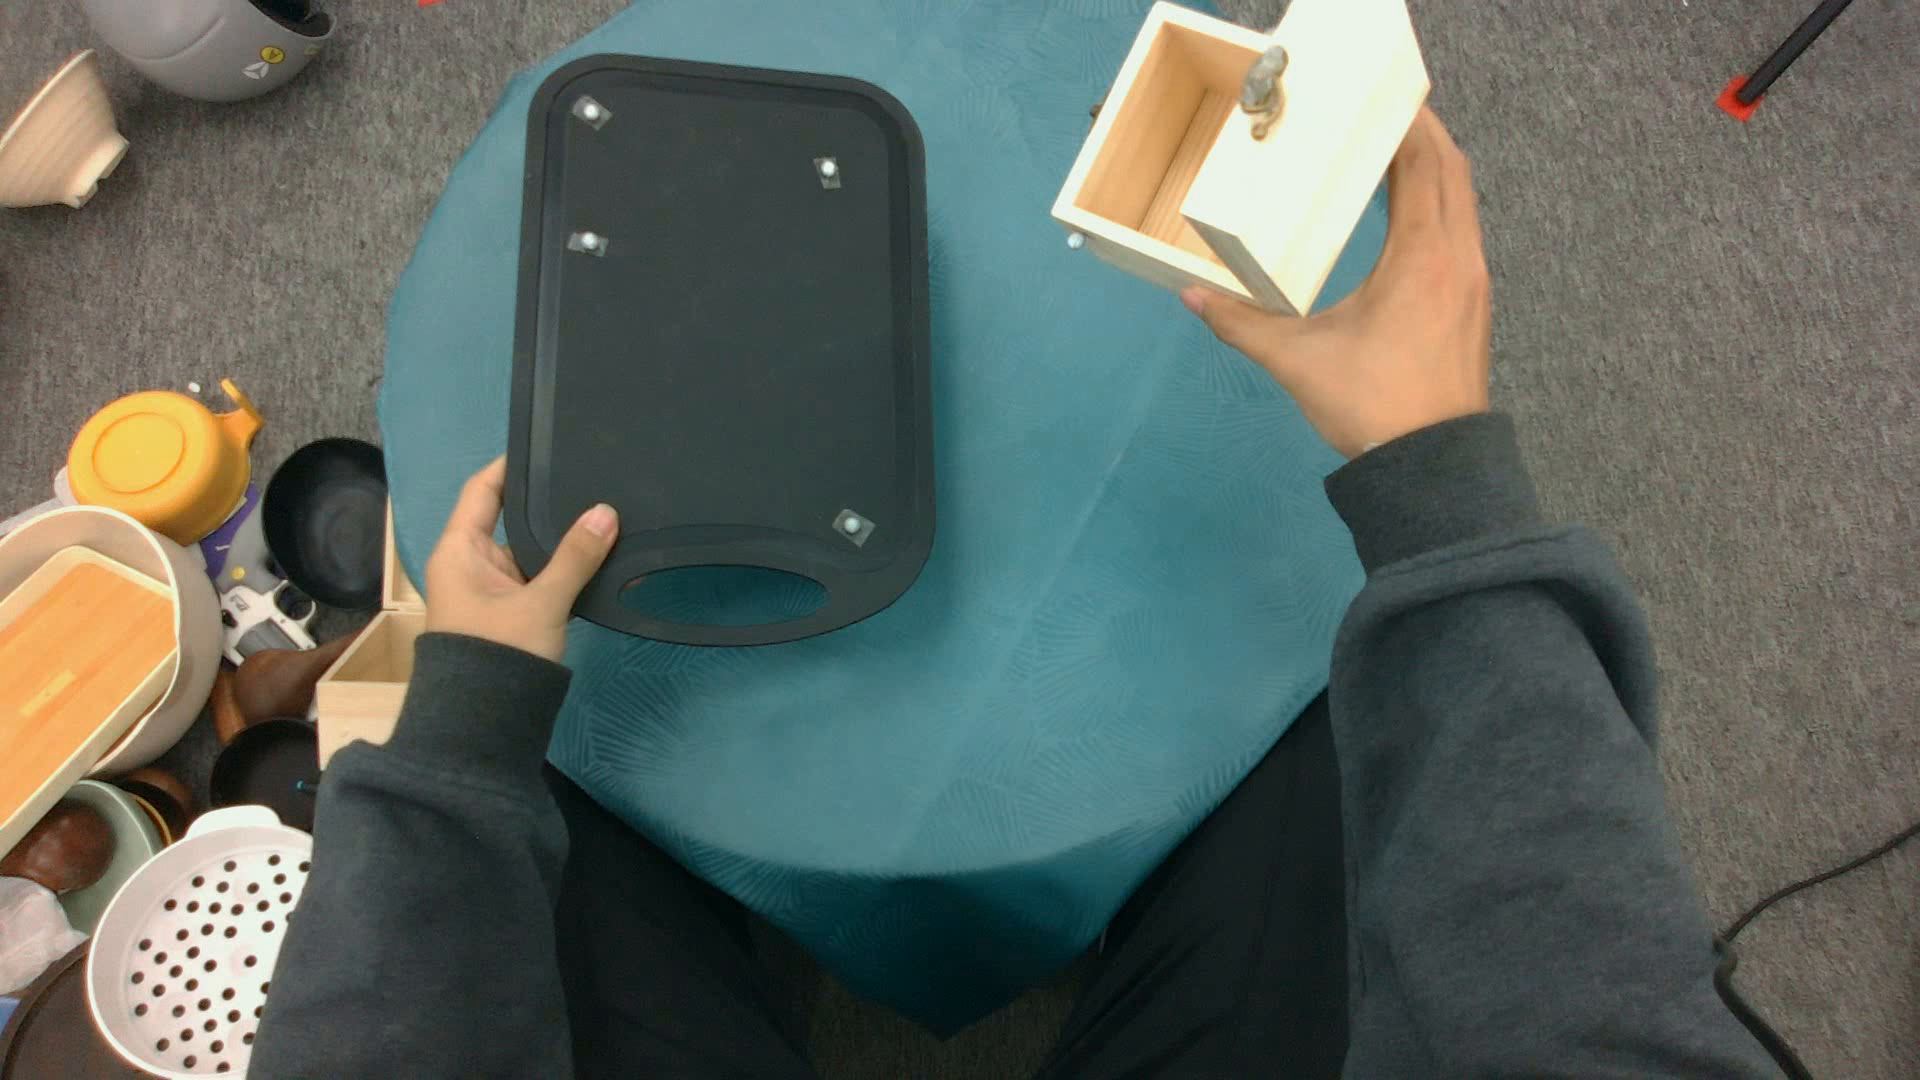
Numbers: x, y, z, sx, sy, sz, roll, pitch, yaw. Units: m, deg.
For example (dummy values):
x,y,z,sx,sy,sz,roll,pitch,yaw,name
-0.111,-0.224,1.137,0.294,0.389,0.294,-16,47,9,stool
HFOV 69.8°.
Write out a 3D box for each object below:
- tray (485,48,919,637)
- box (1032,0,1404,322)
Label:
x,y,z,sx,sy,sz,roll,pitch,yaw,name
-0.126,-0.109,0.705,0.211,0.010,0.326,2,72,-11,tray
0.096,-0.170,0.559,0.134,0.184,0.102,29,96,22,box
